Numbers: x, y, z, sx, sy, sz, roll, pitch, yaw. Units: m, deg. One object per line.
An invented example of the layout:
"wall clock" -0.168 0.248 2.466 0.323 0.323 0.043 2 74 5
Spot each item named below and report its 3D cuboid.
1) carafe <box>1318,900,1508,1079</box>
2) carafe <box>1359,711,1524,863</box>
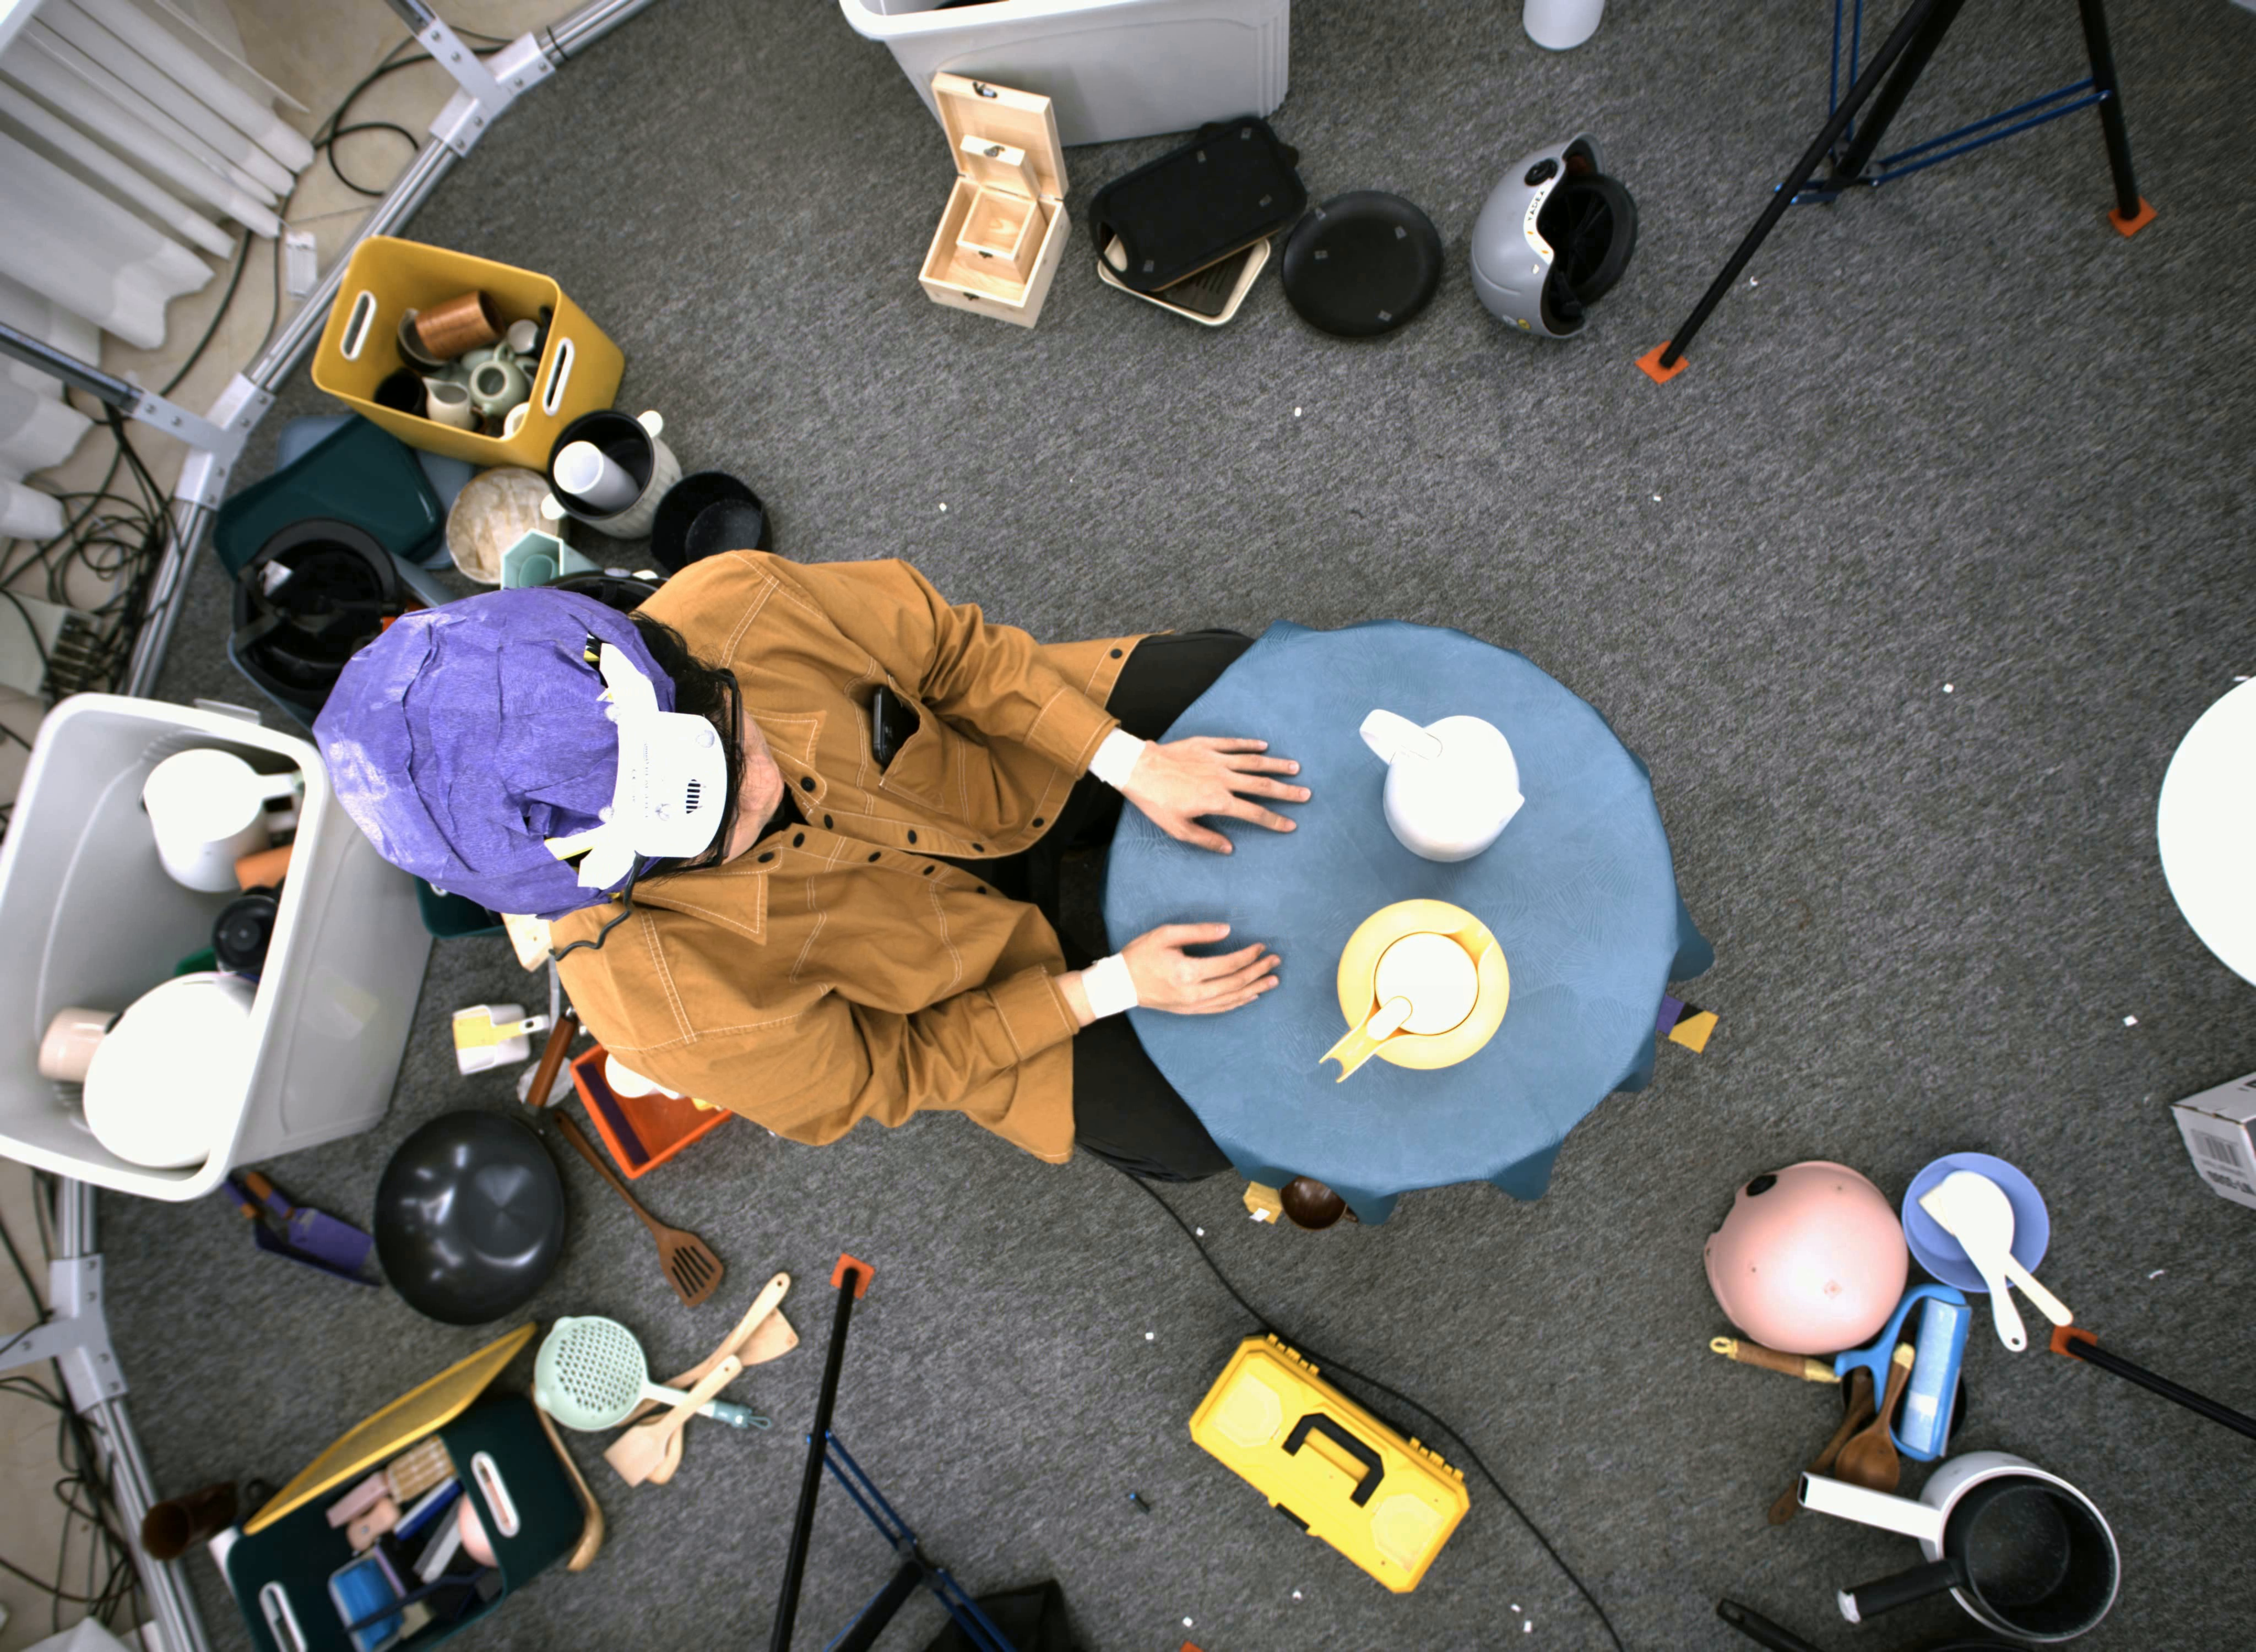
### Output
"carafe" 0.265 0.162 1.326 0.203 0.261 0.162 -41 77 3
"carafe" 0.299 -0.051 1.336 0.167 0.249 0.133 34 92 12
